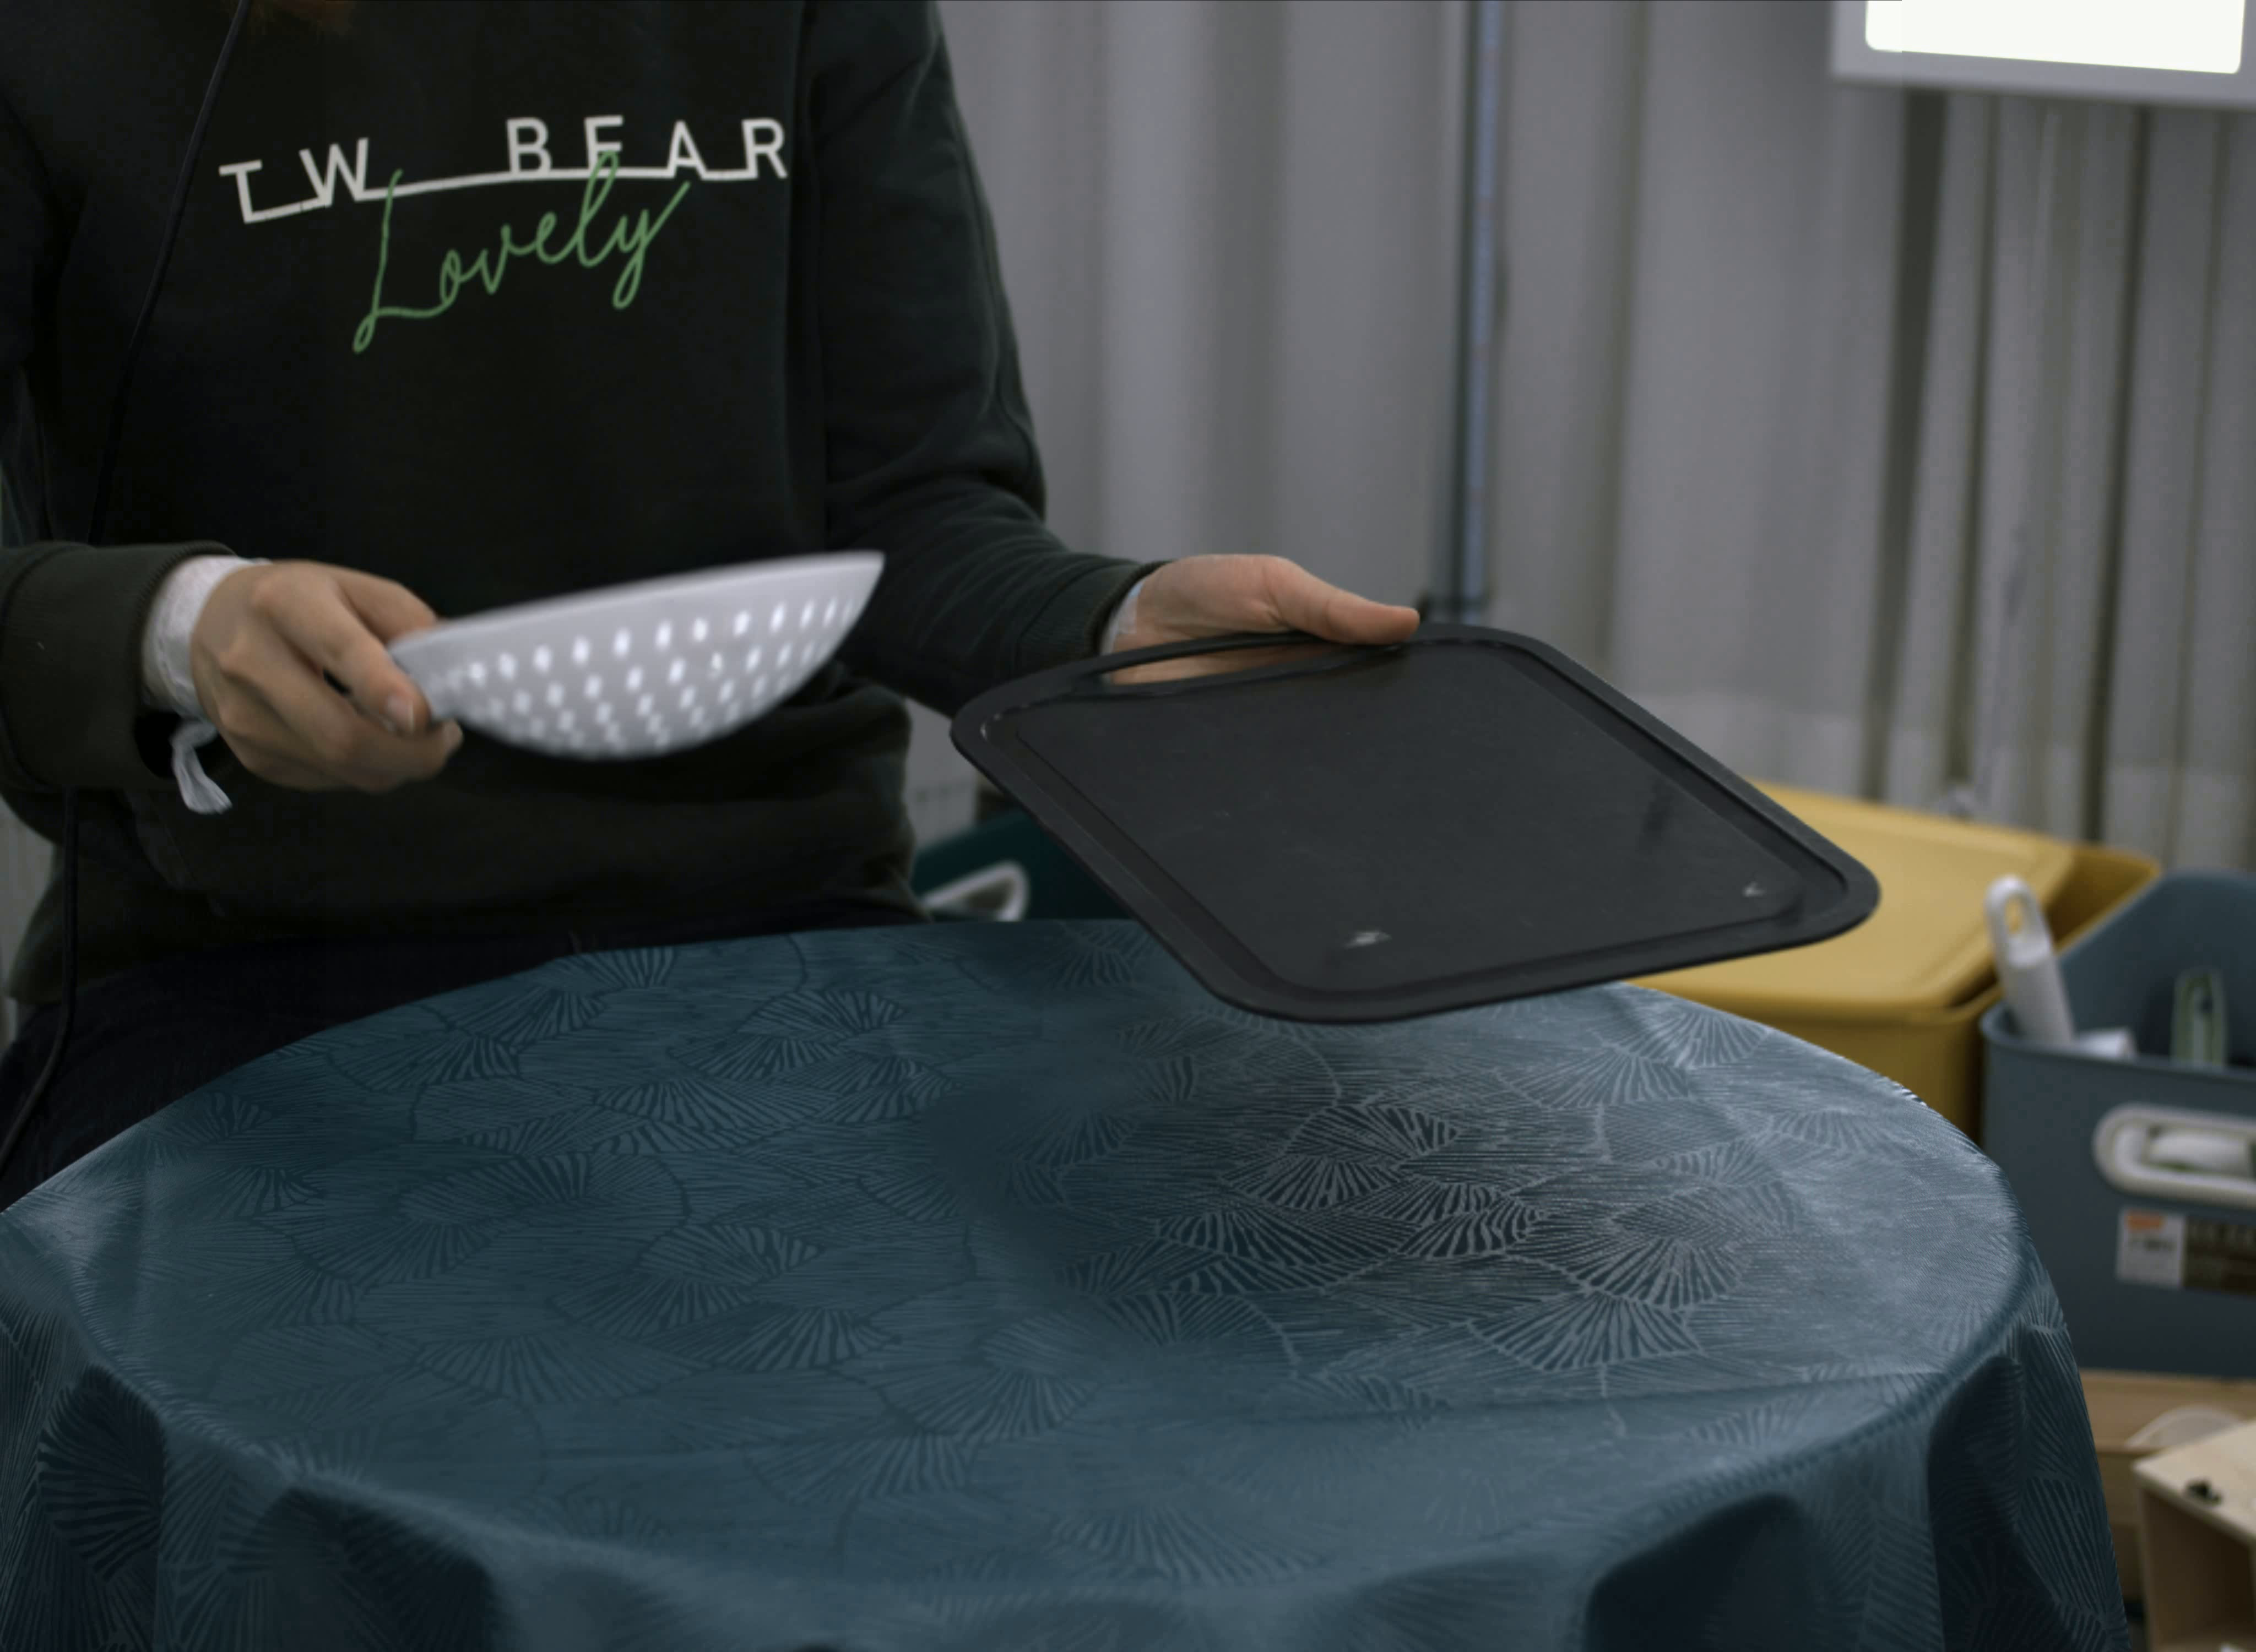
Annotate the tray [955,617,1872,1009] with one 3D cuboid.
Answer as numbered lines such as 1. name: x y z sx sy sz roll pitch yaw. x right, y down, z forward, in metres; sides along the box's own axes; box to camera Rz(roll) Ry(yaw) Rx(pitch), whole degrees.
1. tray: 0.077 -0.012 1.622 0.211 0.010 0.321 -9 22 -18

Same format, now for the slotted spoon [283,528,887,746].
1. slotted spoon: -0.179 -0.050 1.505 0.136 0.046 0.347 -9 3 -27
